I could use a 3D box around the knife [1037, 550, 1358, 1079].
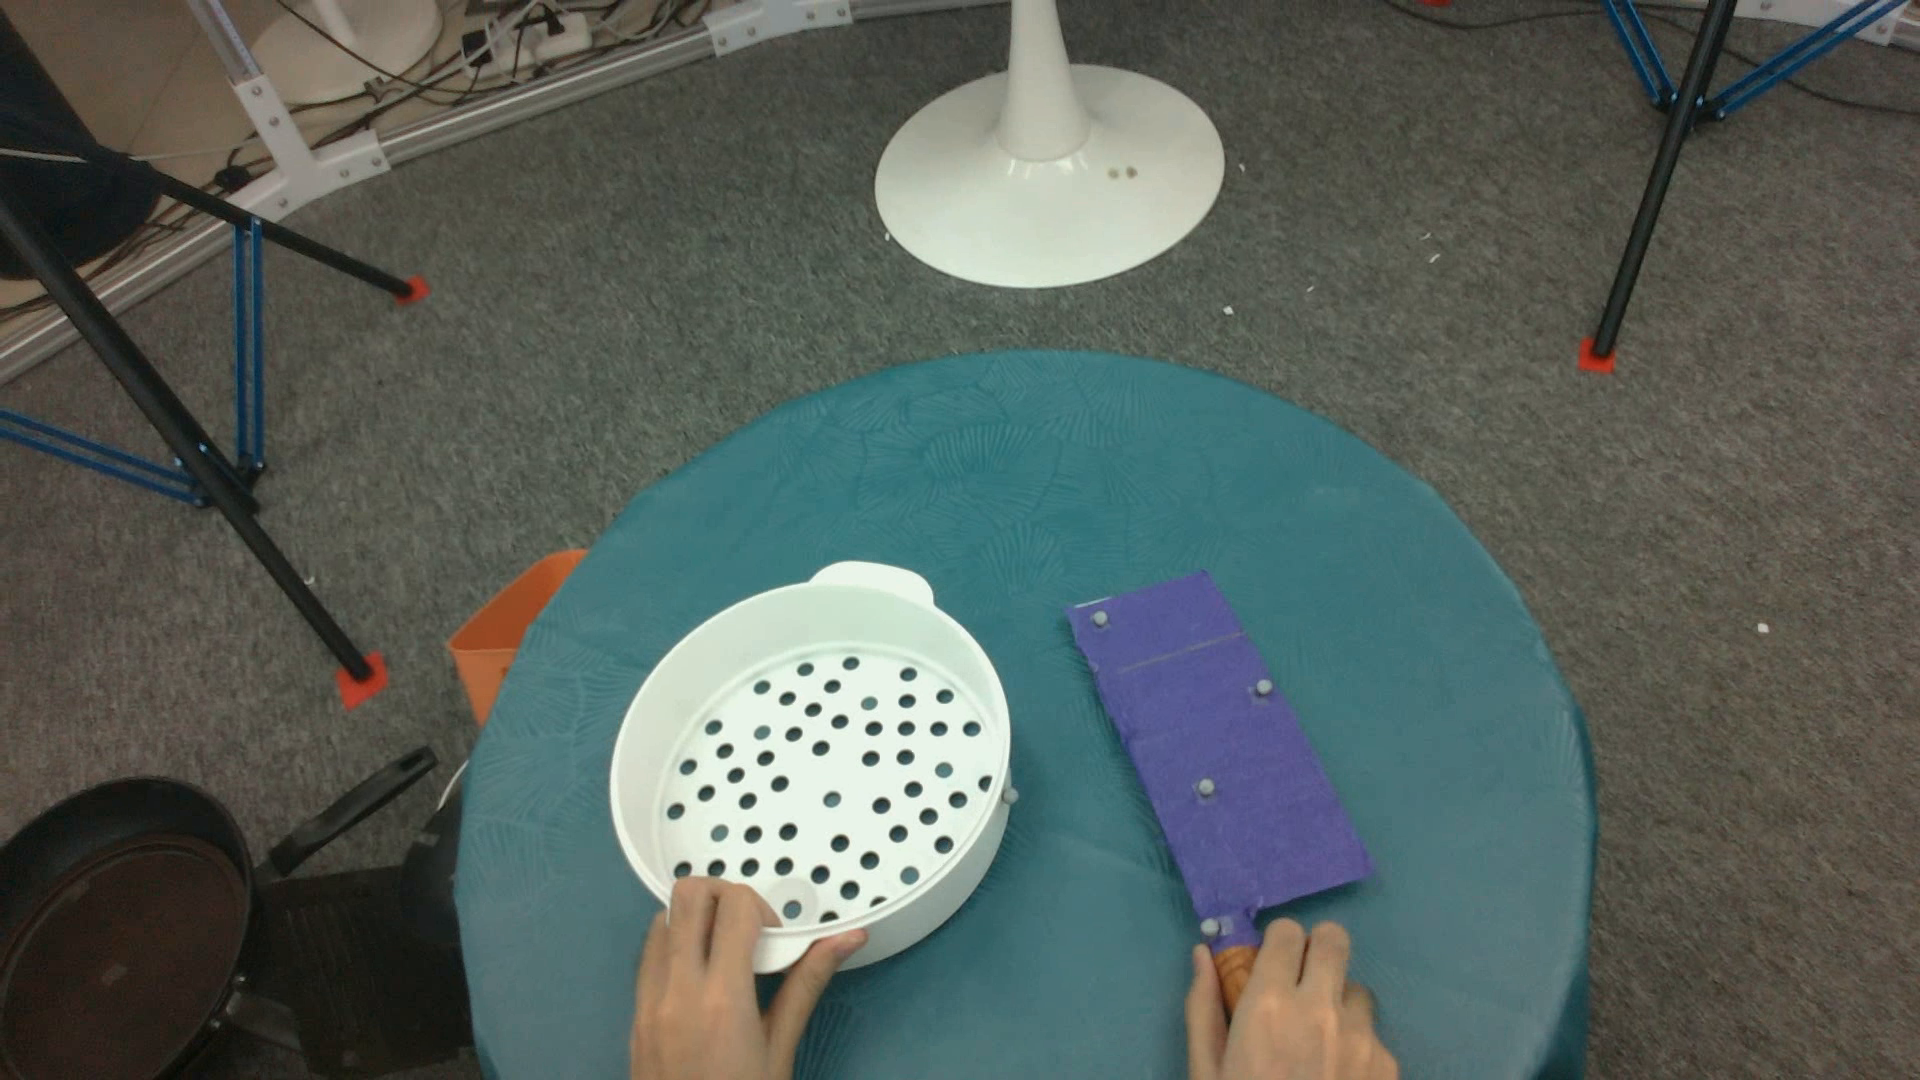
[{"bbox_3d":[0.138,0.122,0.690,0.104,0.032,0.316,-15,50,-9],"label":"knife"}]

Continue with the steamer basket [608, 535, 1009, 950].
[{"bbox_3d":[-0.075,0.107,0.712,0.201,0.069,0.231,8,57,15],"label":"steamer basket"}]
